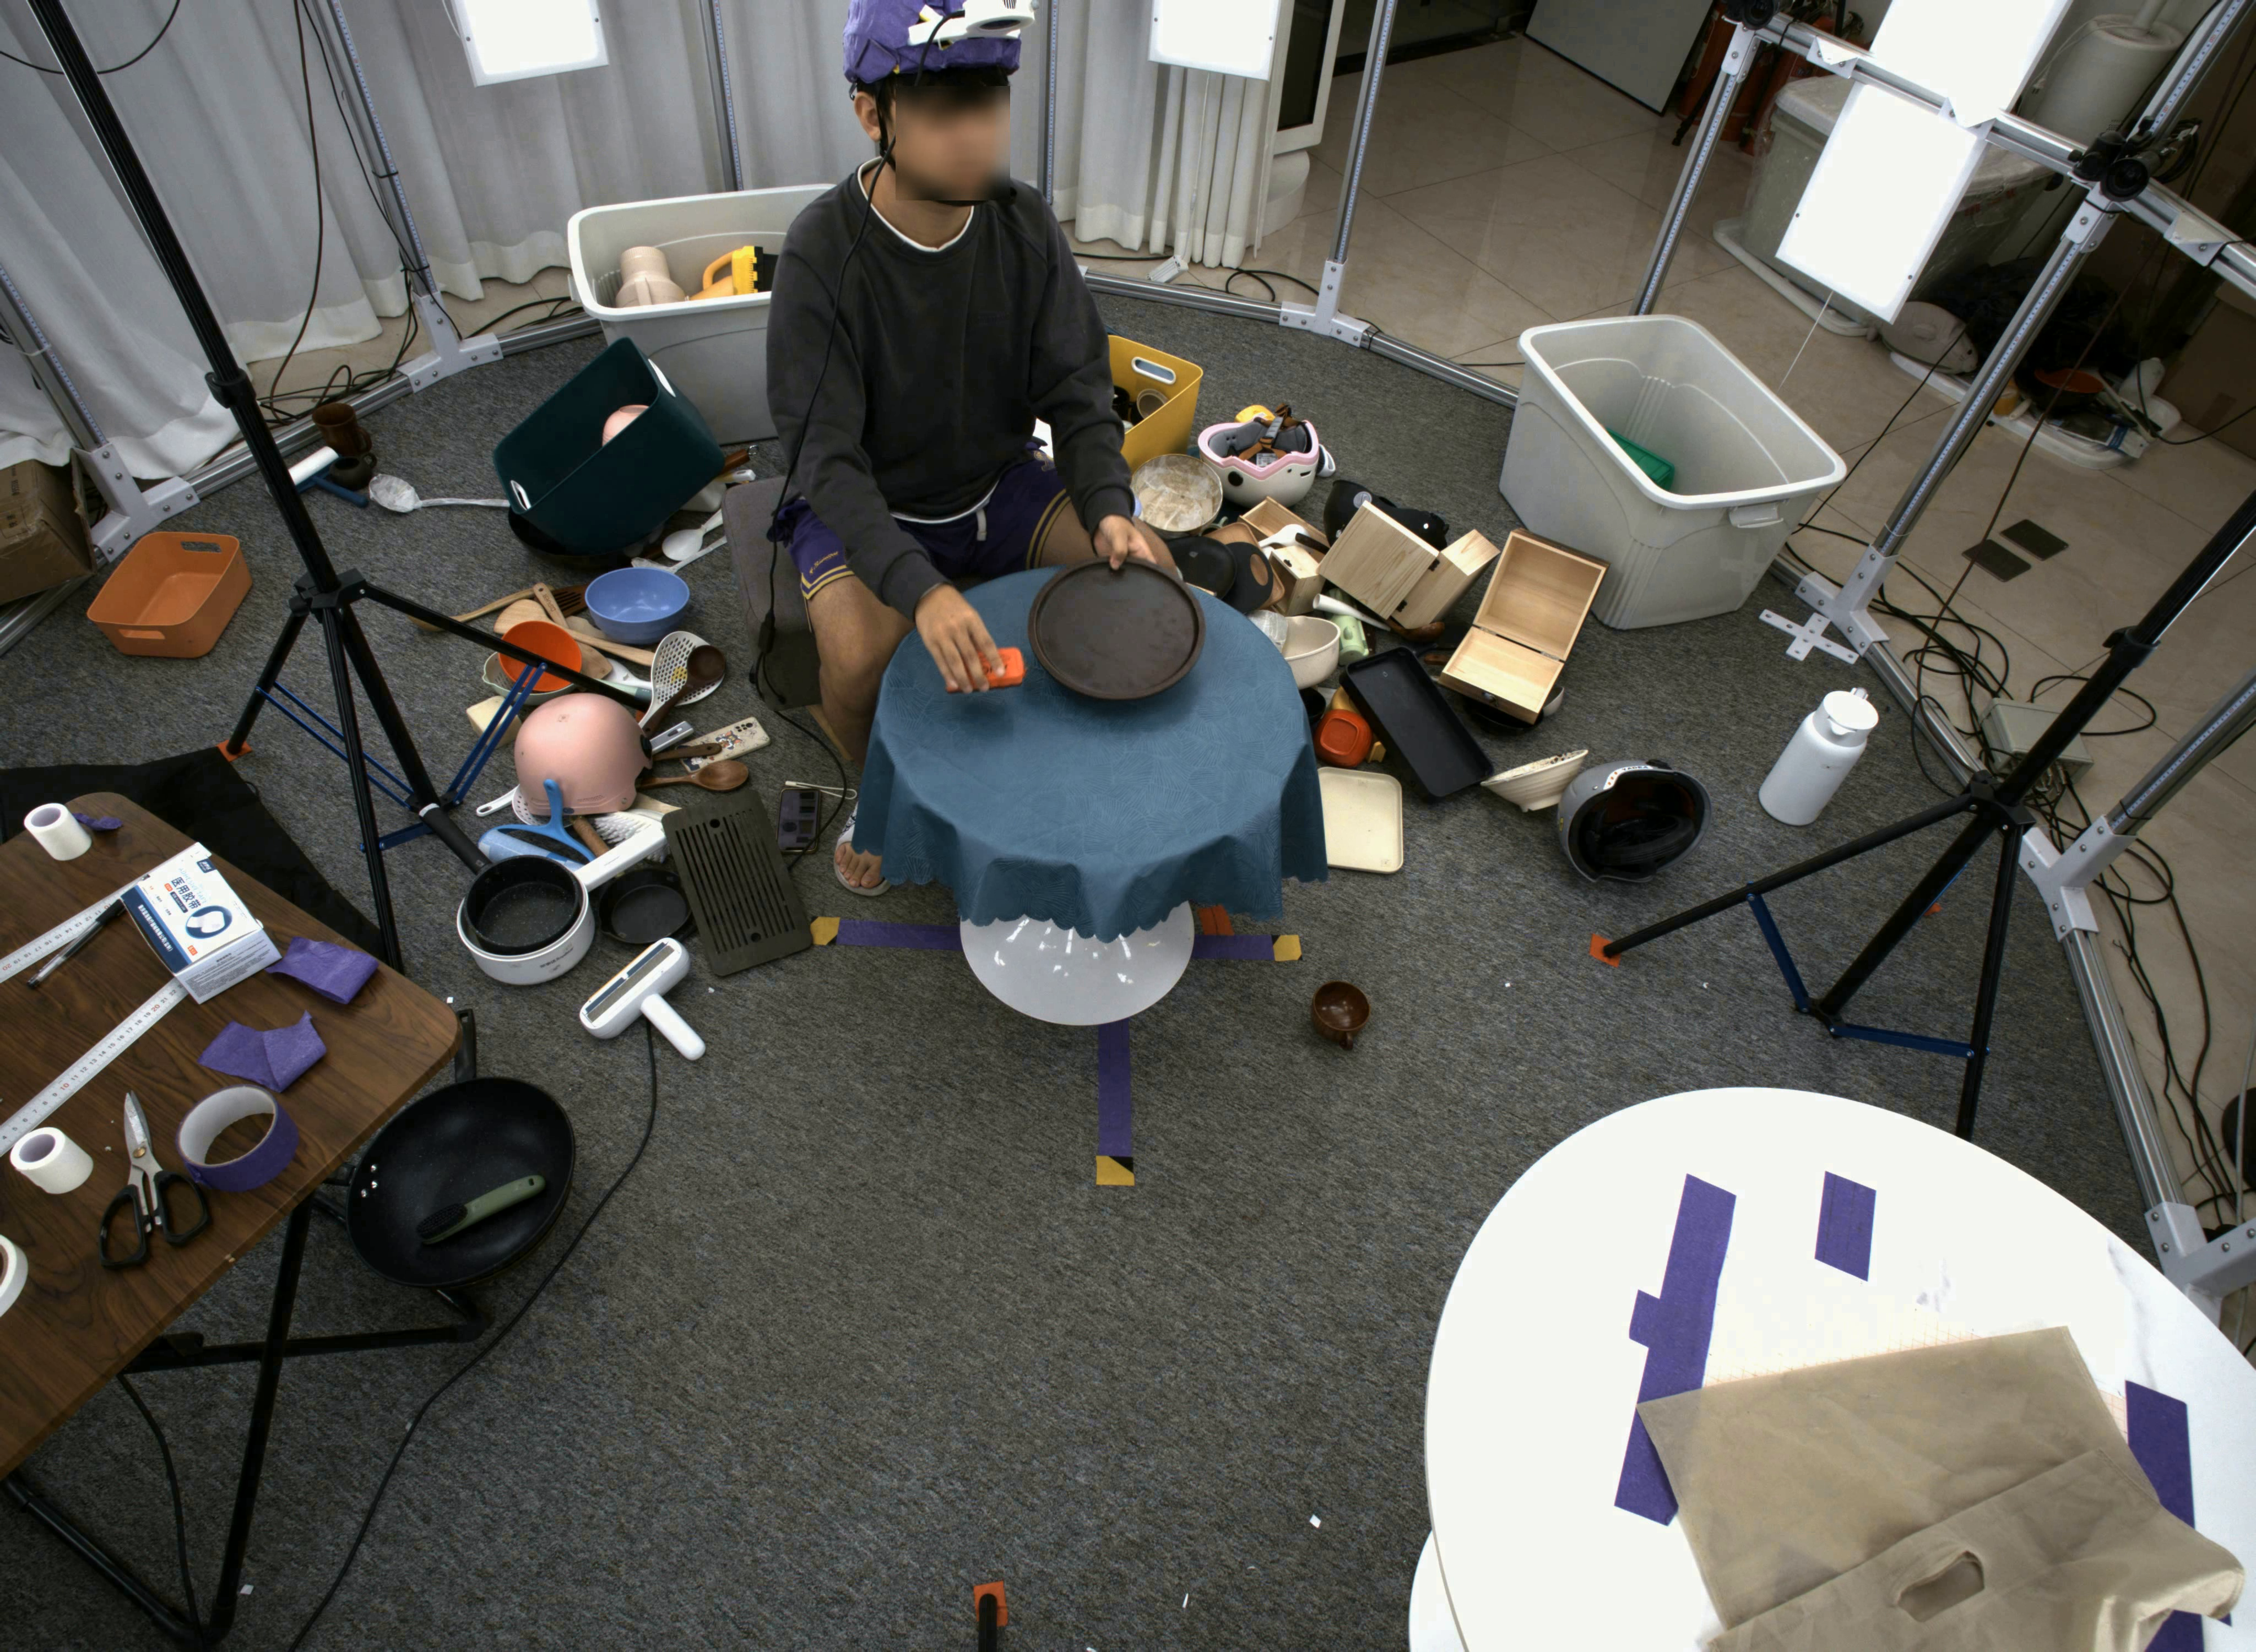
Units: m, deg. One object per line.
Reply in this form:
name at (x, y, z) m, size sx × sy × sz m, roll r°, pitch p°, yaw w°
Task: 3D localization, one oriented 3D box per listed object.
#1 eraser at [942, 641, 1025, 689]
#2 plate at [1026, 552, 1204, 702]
eraser at (-0.196, -0.219, 1.746) m, size 0.108 × 0.022 × 0.060 m, roll -7°, pitch 54°, yaw -4°
plate at (-0.018, -0.285, 1.831) m, size 0.254 × 0.028 × 0.260 m, roll 0°, pitch 61°, yaw 0°
